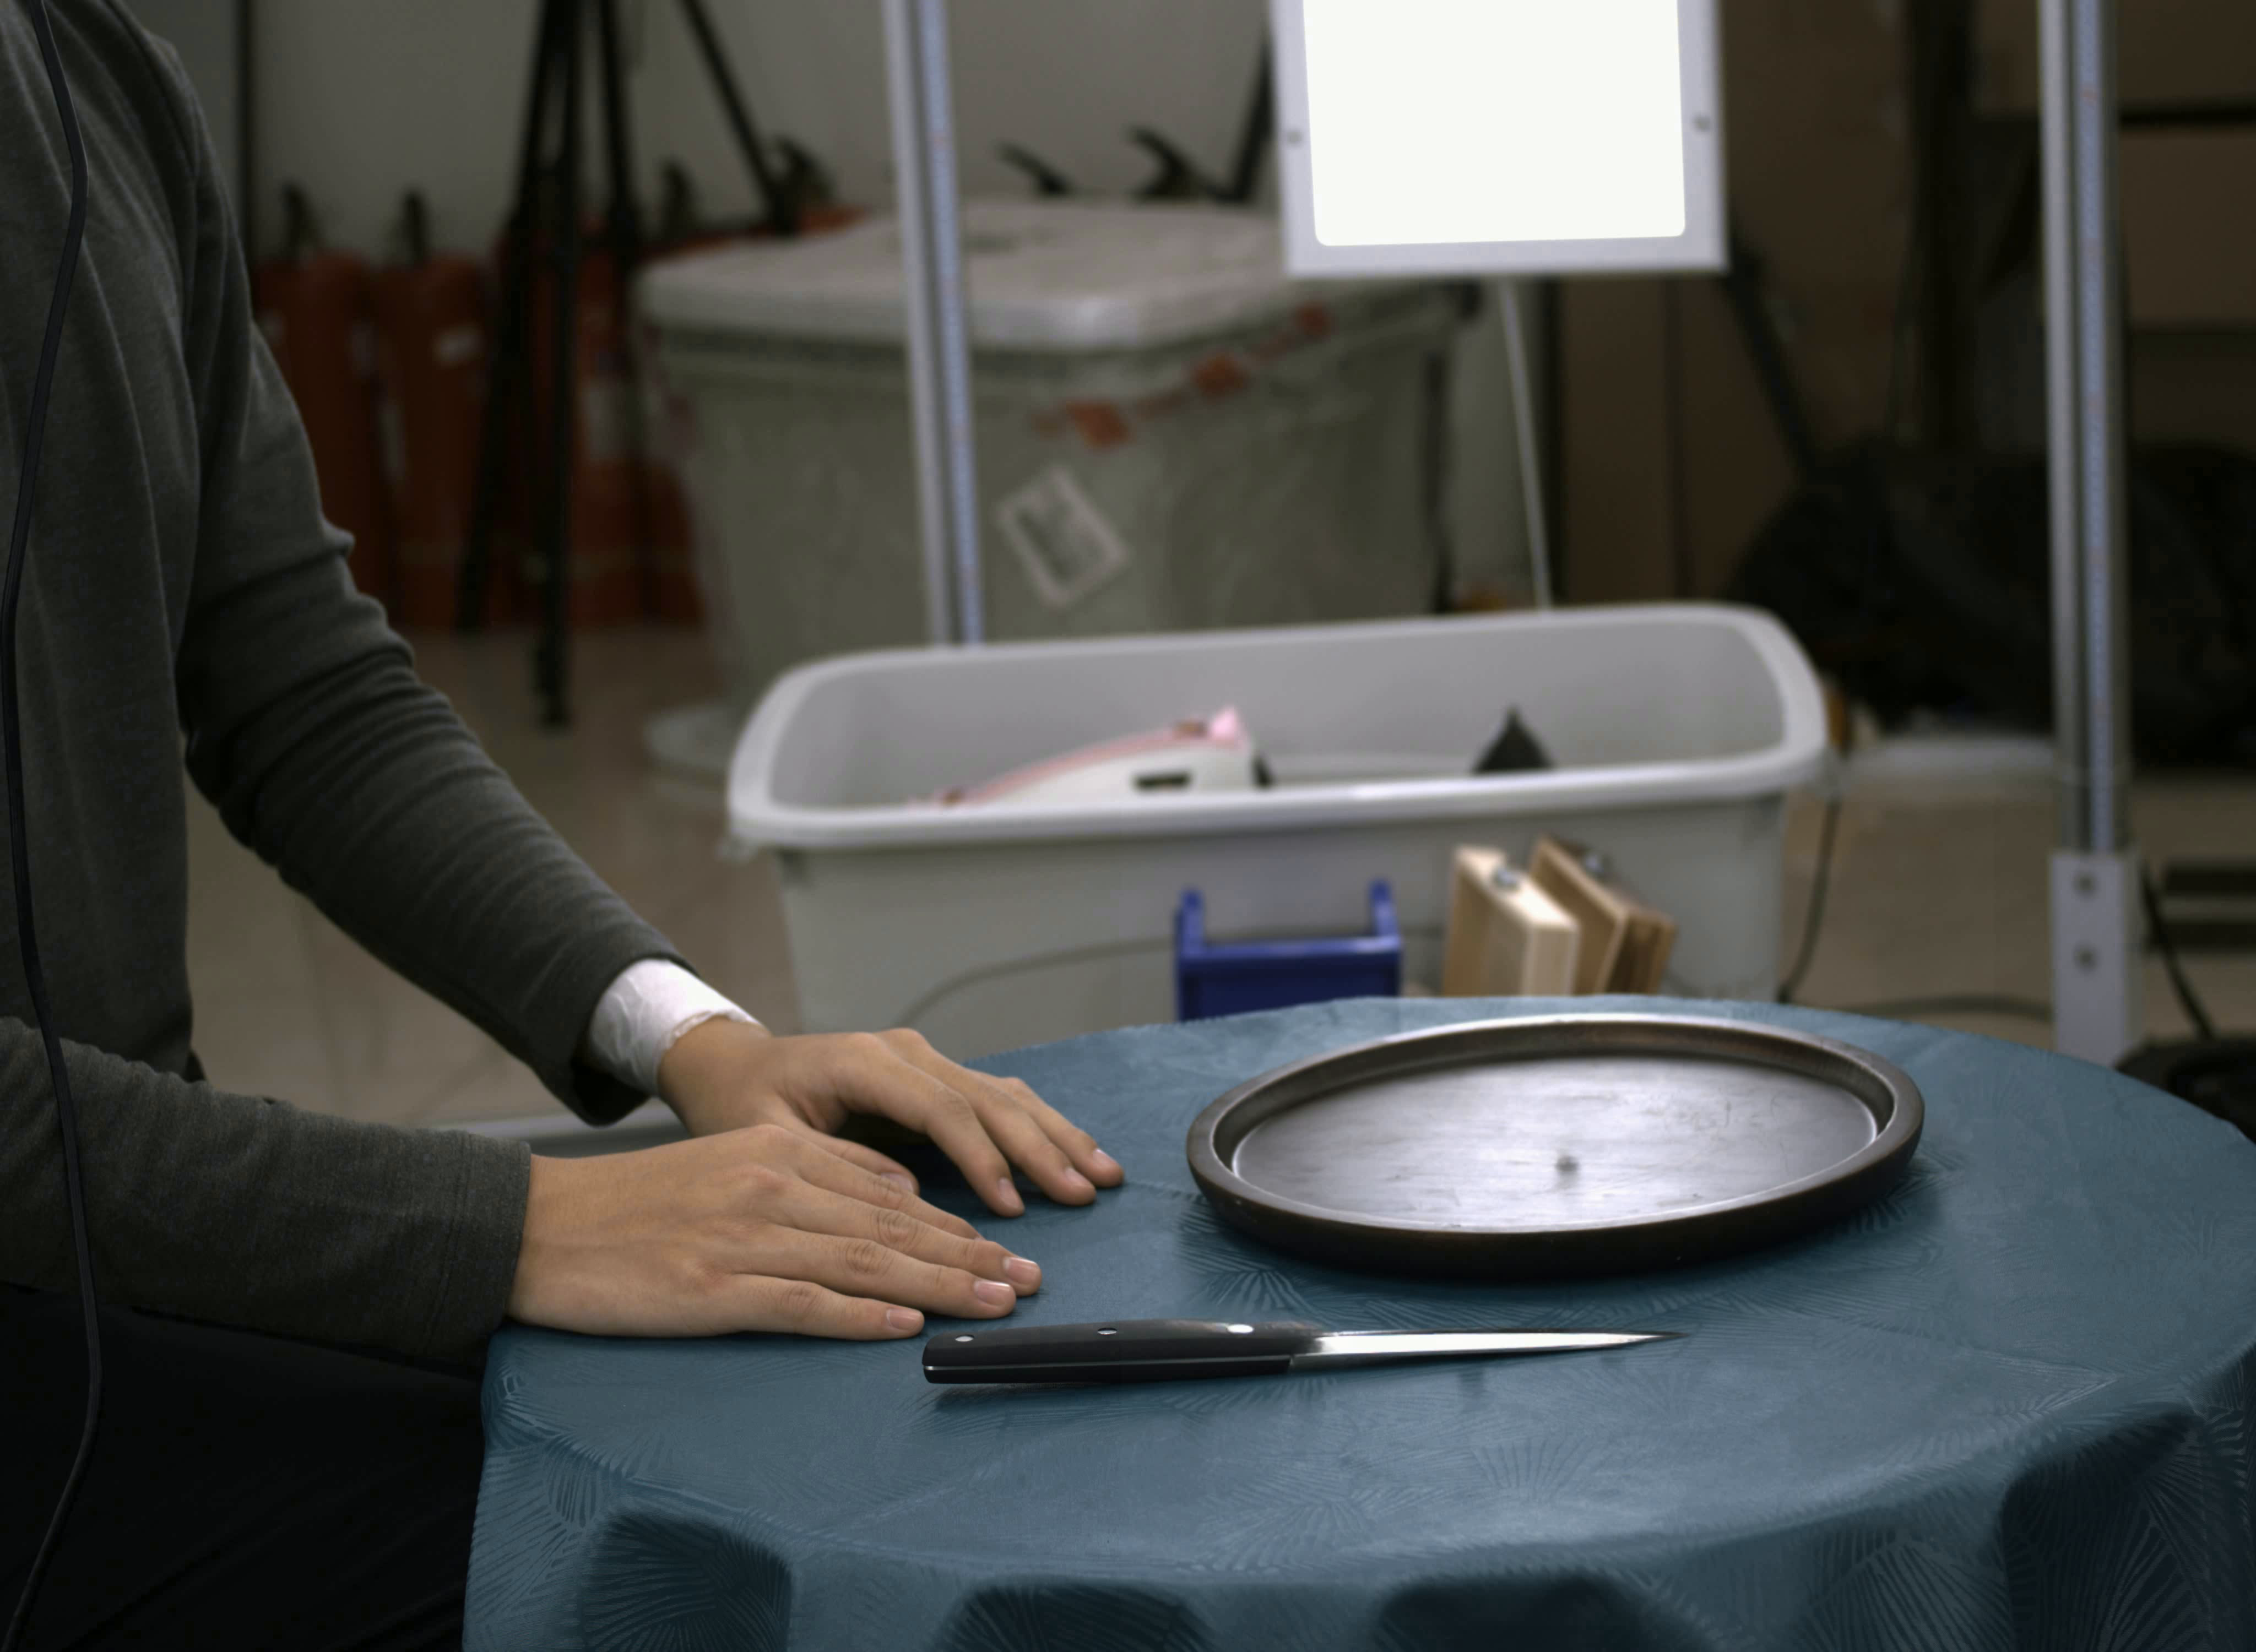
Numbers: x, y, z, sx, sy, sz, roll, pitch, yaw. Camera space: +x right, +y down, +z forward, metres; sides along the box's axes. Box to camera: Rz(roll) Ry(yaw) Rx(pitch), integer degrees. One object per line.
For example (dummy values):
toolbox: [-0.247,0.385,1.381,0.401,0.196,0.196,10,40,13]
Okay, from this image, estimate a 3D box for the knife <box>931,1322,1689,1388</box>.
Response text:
knife: [0.057,0.162,1.712,0.237,0.016,0.024,-2,16,1]

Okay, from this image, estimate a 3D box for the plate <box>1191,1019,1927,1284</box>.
plate: [0.147,0.108,1.875,0.254,0.029,0.254,-4,13,0]
